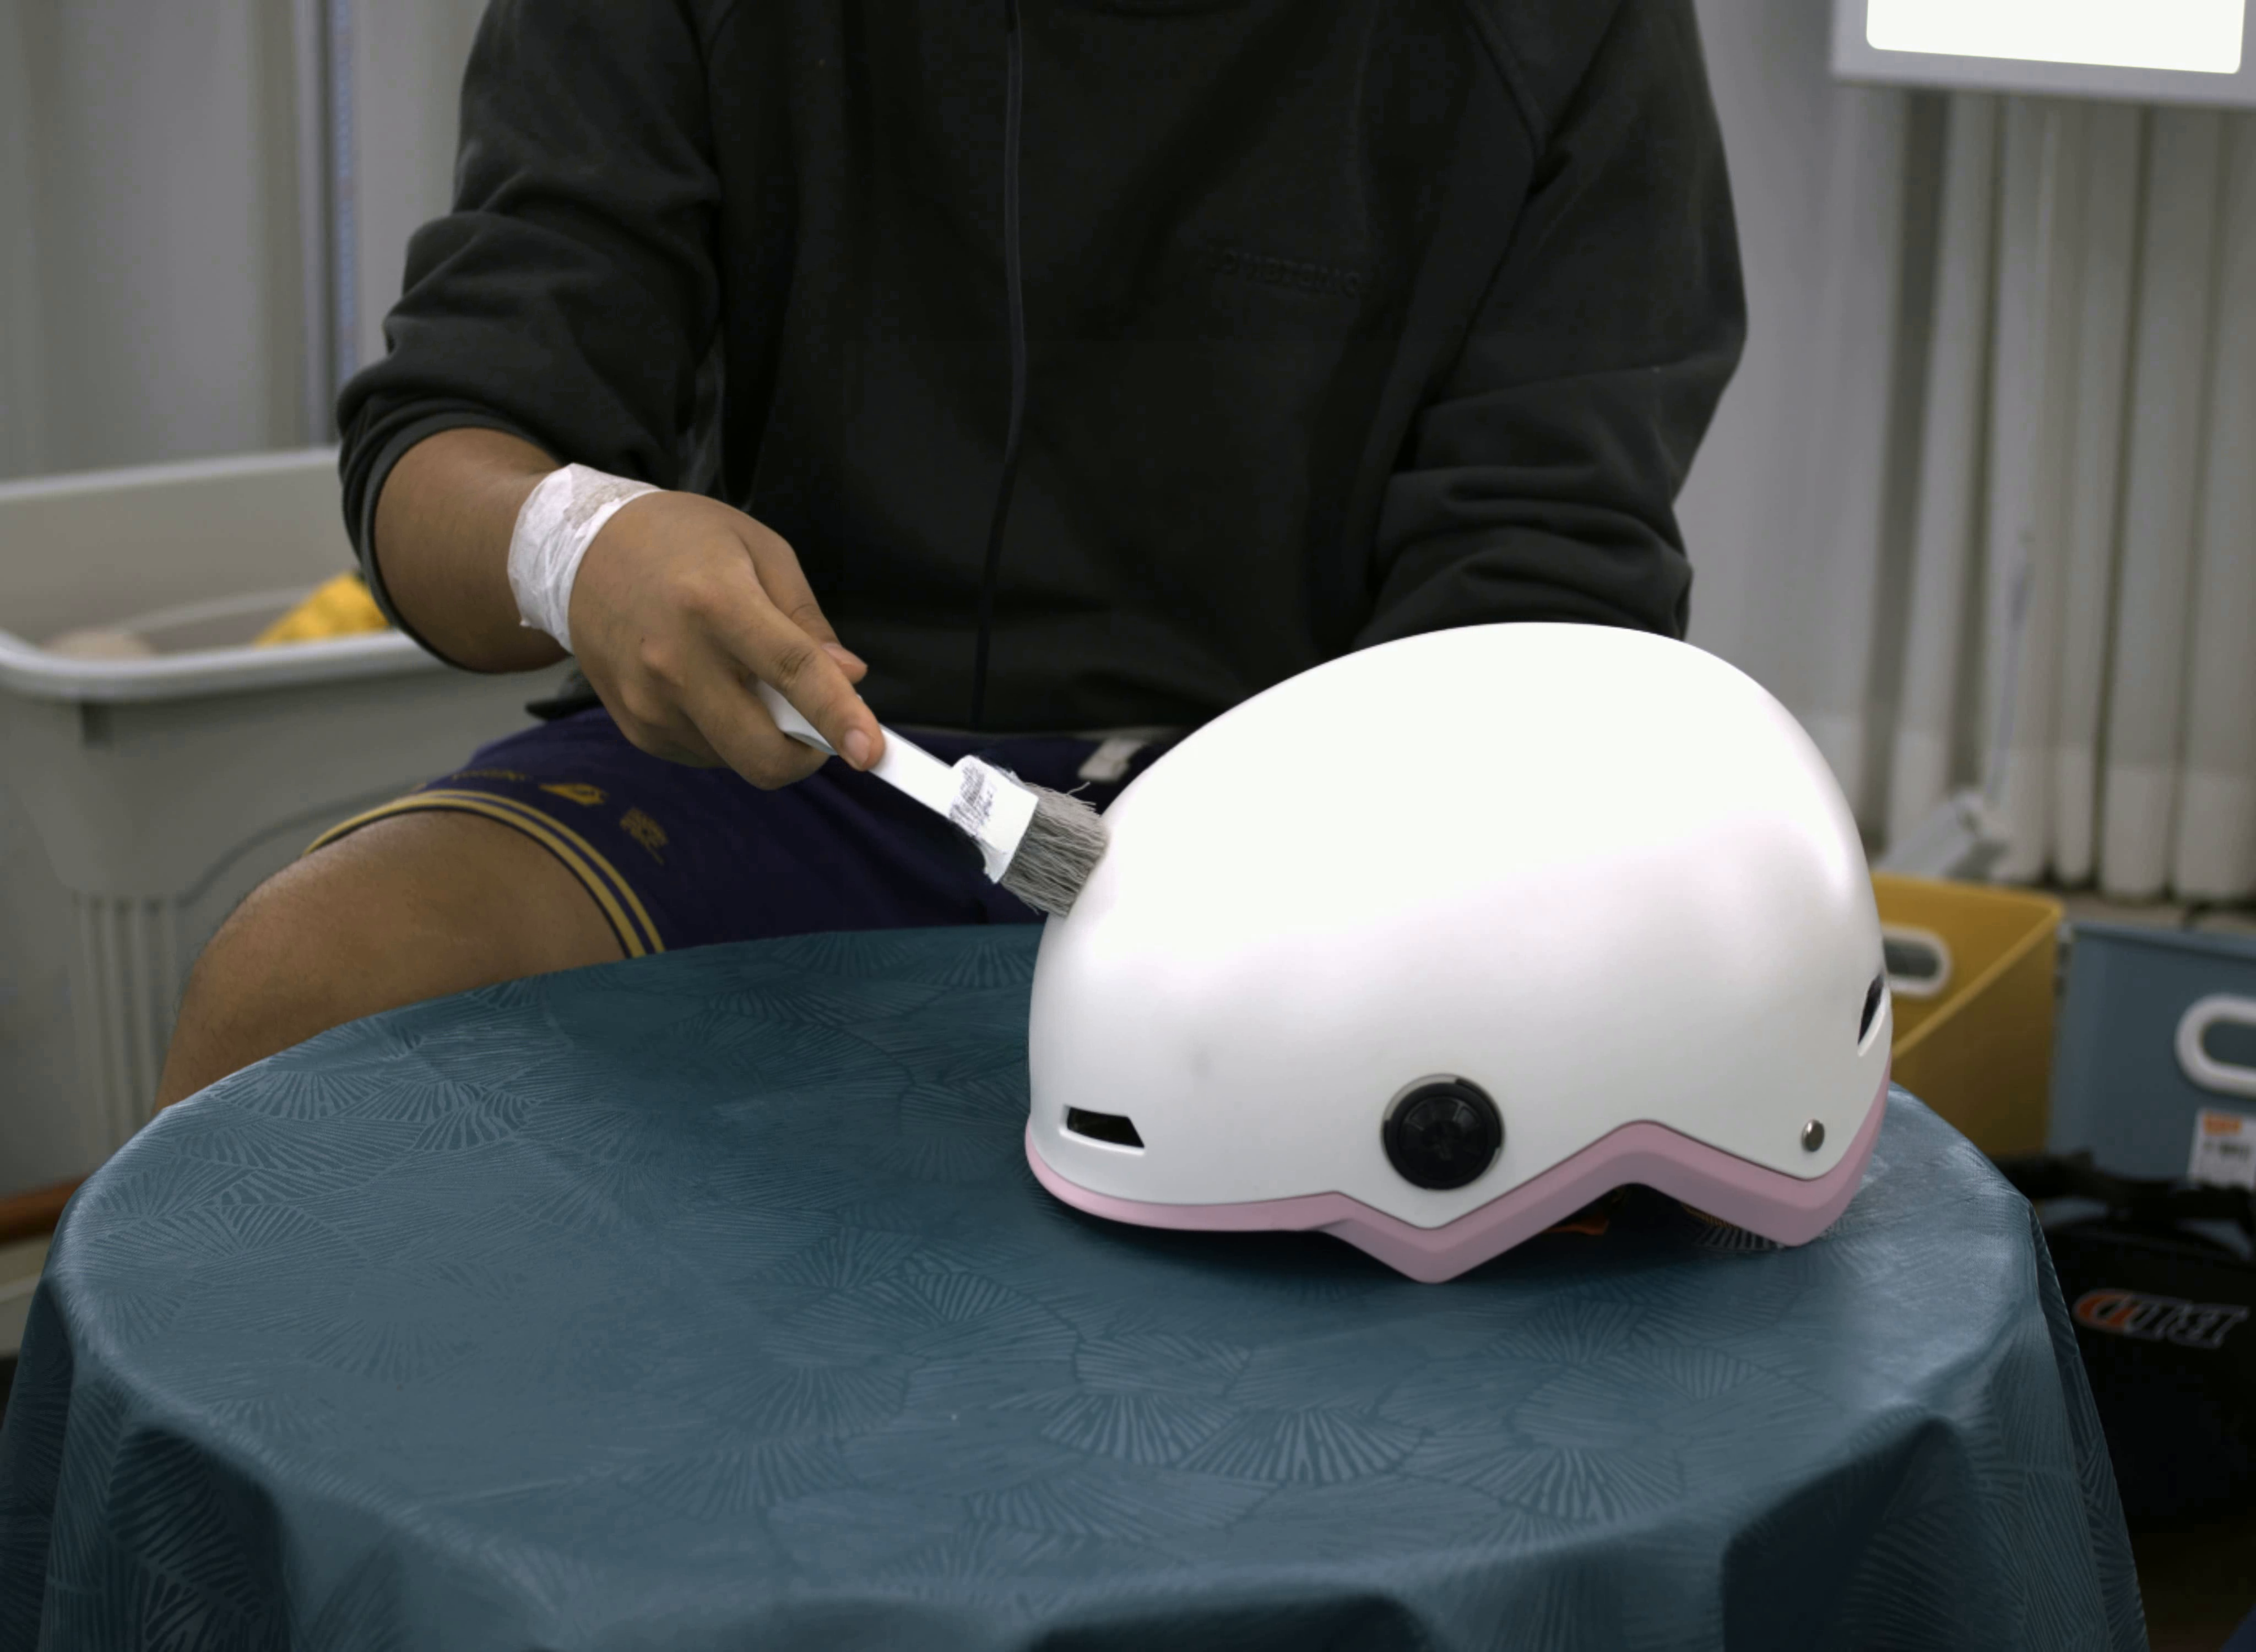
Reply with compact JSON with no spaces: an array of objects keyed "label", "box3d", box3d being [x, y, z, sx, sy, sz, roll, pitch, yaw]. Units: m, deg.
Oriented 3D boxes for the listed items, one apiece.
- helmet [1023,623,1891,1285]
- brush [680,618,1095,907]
[{"label":"helmet","box3d":[0.102,0.024,1.618,0.268,0.168,0.235,-1,19,-6]},{"label":"brush","box3d":[-0.077,-0.023,1.689,0.051,0.034,0.240,24,3,-32]}]
